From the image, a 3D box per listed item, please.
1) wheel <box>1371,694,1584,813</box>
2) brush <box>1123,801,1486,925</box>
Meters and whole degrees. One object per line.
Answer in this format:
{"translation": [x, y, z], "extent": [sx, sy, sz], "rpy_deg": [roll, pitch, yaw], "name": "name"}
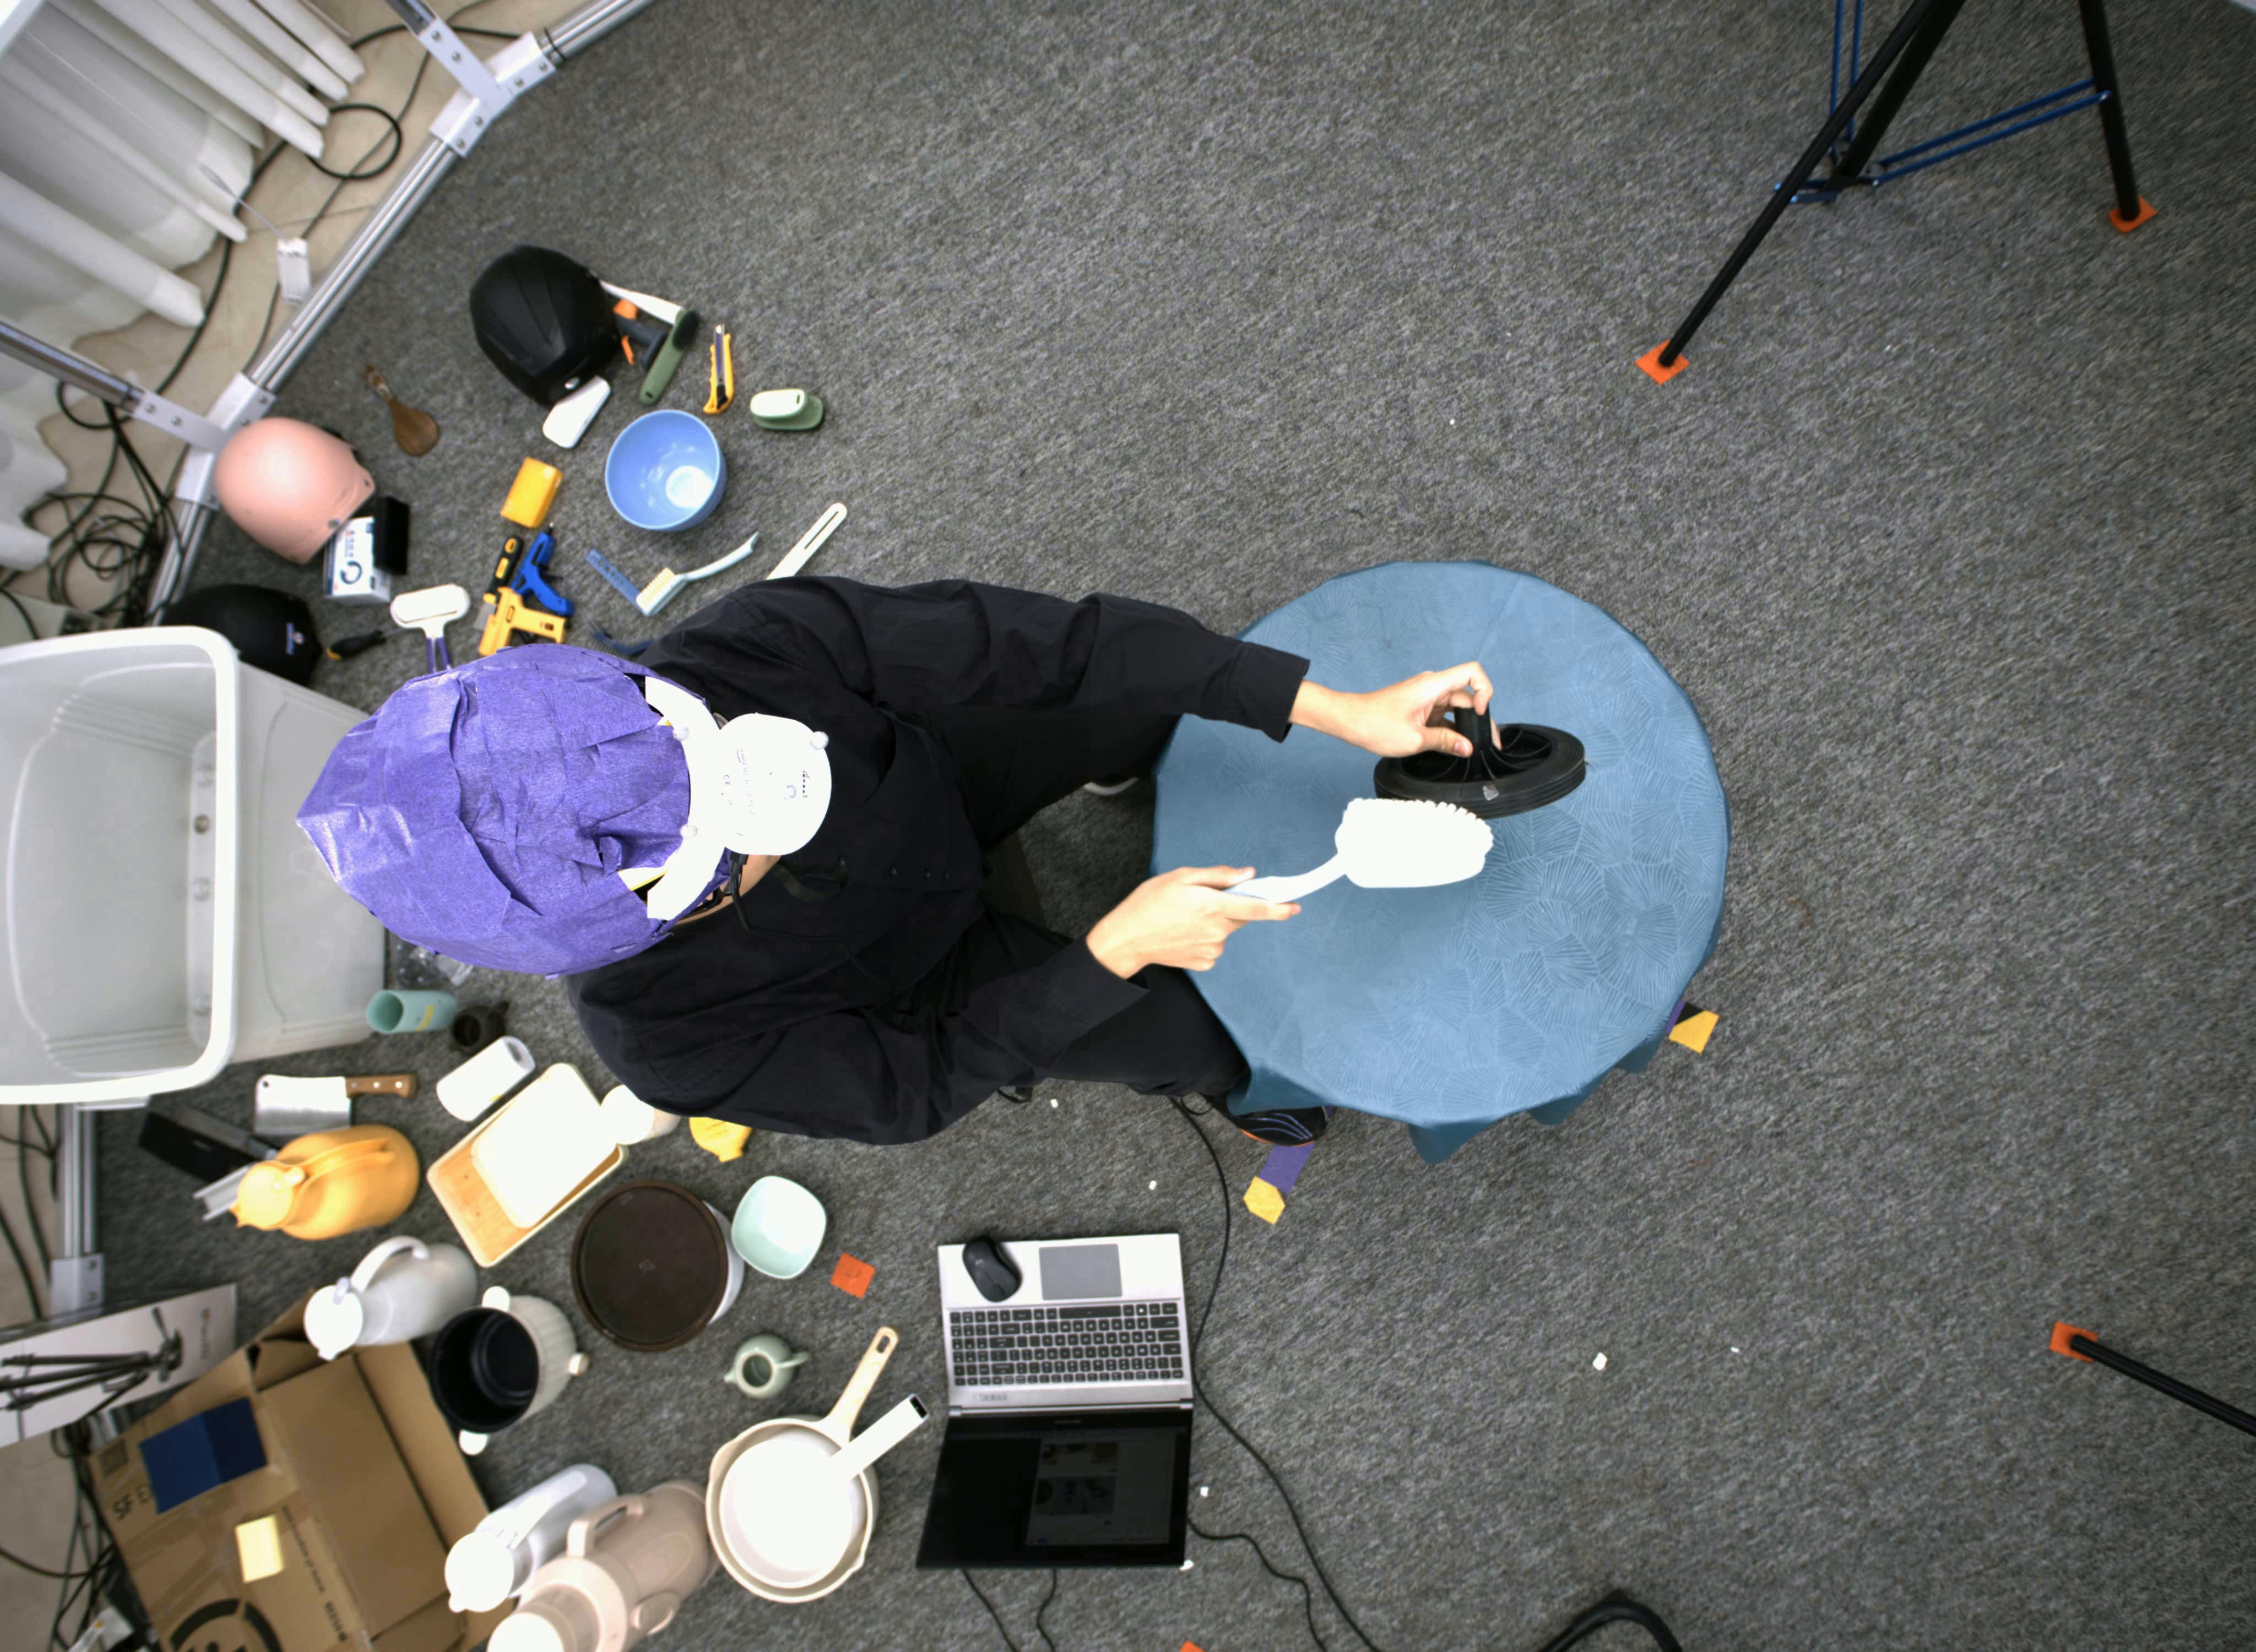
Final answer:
{"translation": [0.311, -0.079, 1.239], "extent": [0.190, 0.184, 0.080], "rpy_deg": [-16, 112, -4], "name": "wheel"}
{"translation": [0.150, 0.026, 1.216], "extent": [0.328, 0.084, 0.083], "rpy_deg": [-9, 90, 23], "name": "brush"}
